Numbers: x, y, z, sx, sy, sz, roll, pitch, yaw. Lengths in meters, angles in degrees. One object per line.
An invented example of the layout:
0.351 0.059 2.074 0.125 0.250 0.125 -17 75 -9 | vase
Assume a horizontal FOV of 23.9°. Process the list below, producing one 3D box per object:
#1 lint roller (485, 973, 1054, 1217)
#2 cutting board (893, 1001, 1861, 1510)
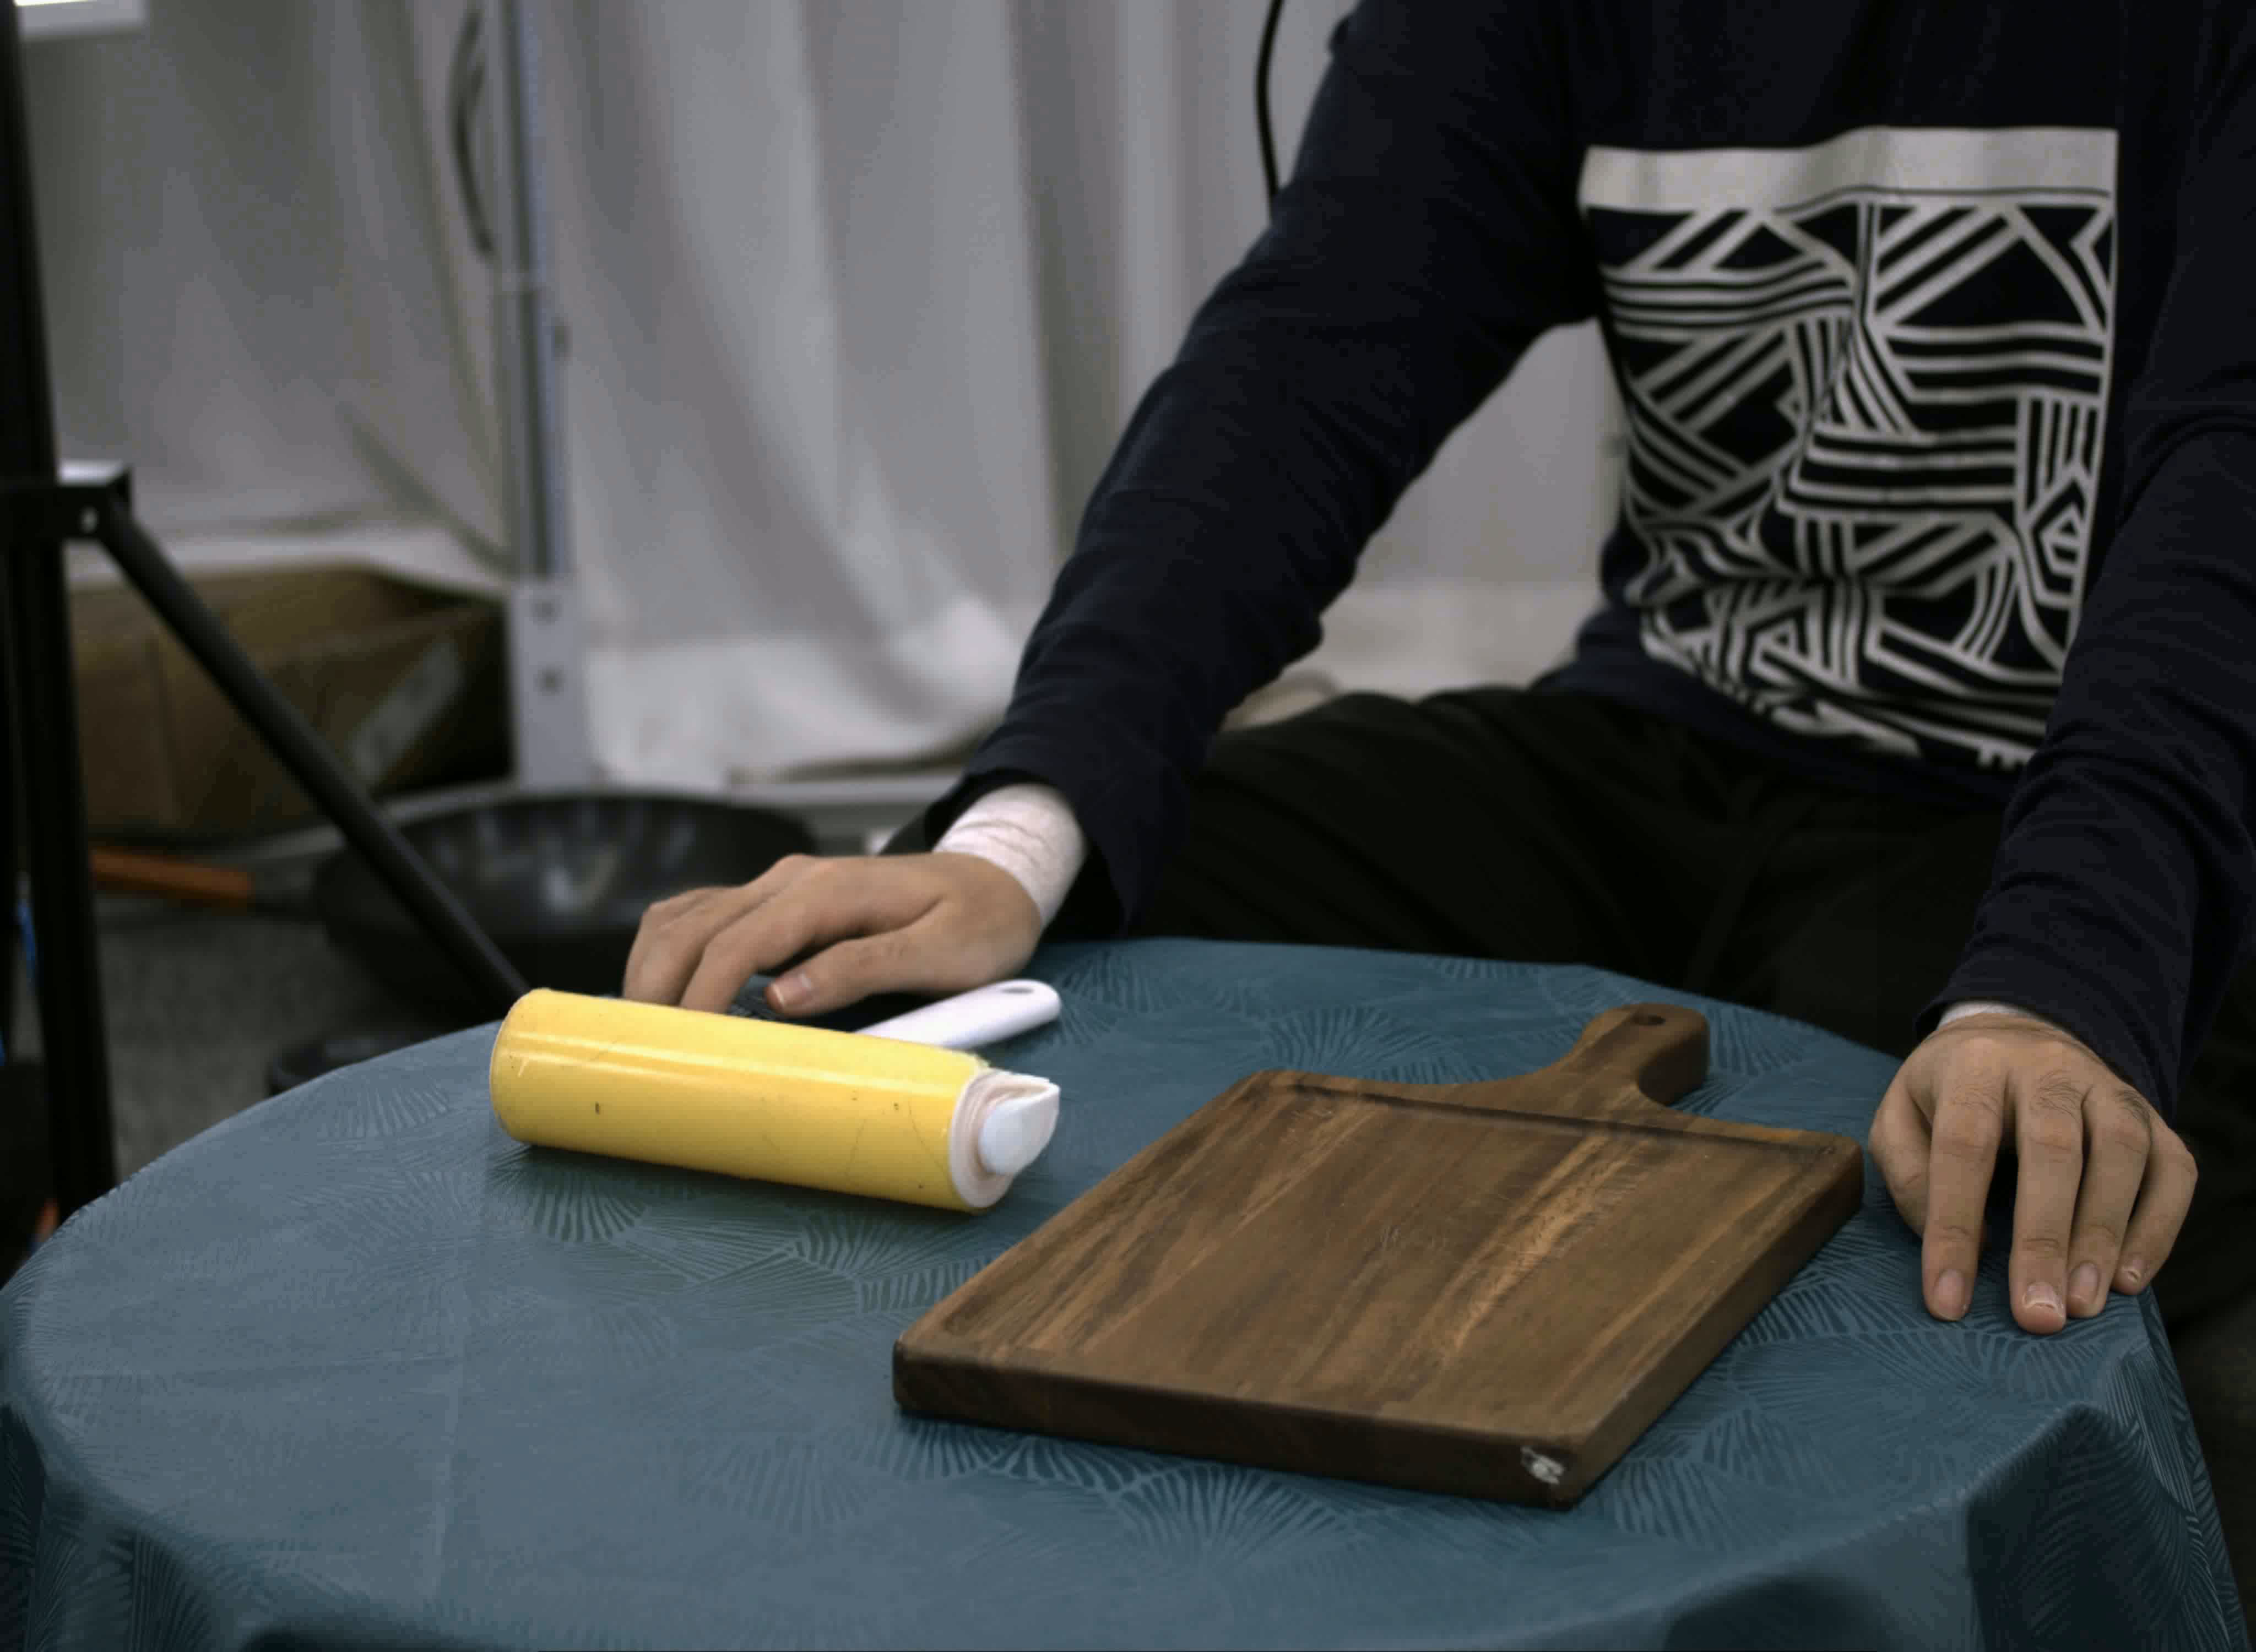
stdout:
-0.080 0.062 1.646 0.177 0.051 0.189 7 21 27 | lint roller
0.095 0.110 1.503 0.204 0.023 0.347 5 17 25 | cutting board
